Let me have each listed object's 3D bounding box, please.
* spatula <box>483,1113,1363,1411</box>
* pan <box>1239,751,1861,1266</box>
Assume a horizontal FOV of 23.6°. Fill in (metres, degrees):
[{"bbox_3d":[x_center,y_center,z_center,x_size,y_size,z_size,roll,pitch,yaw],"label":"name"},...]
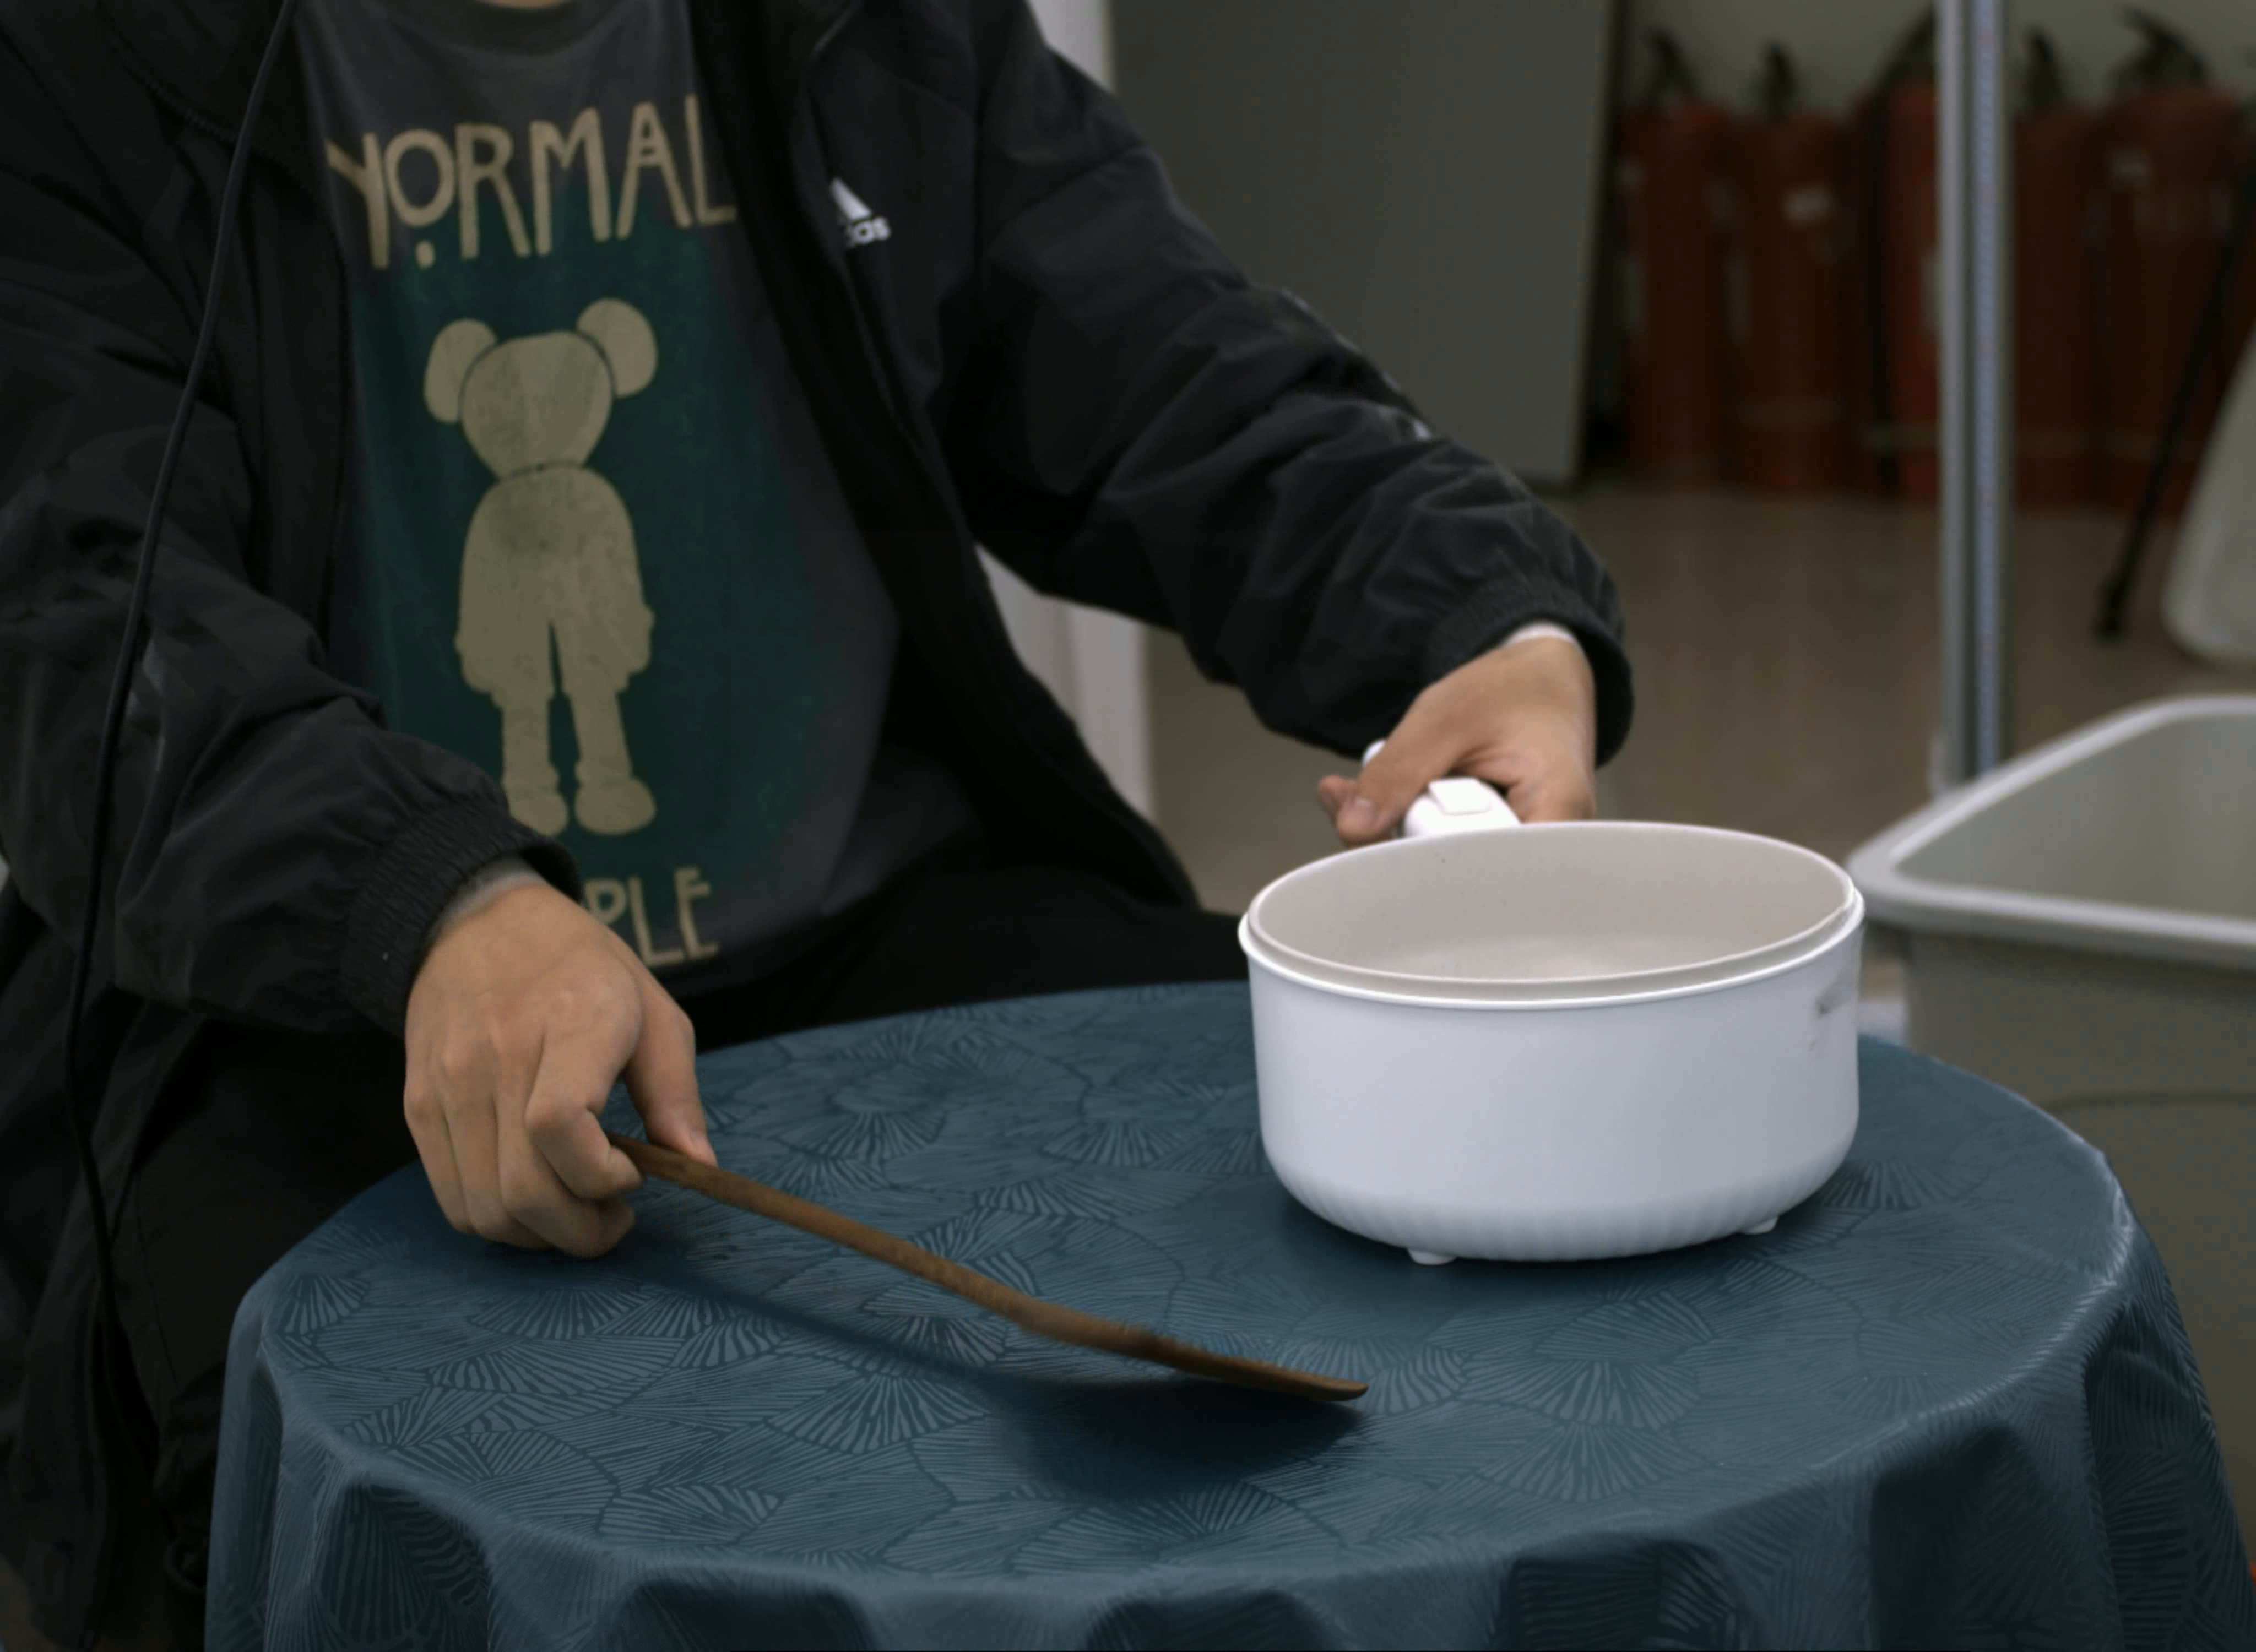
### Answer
[{"bbox_3d":[-0.082,0.130,1.656,0.094,0.016,0.390,14,0,-42],"label":"spatula"},{"bbox_3d":[0.129,0.056,1.802,0.198,0.103,0.356,-6,12,-5],"label":"pan"}]
